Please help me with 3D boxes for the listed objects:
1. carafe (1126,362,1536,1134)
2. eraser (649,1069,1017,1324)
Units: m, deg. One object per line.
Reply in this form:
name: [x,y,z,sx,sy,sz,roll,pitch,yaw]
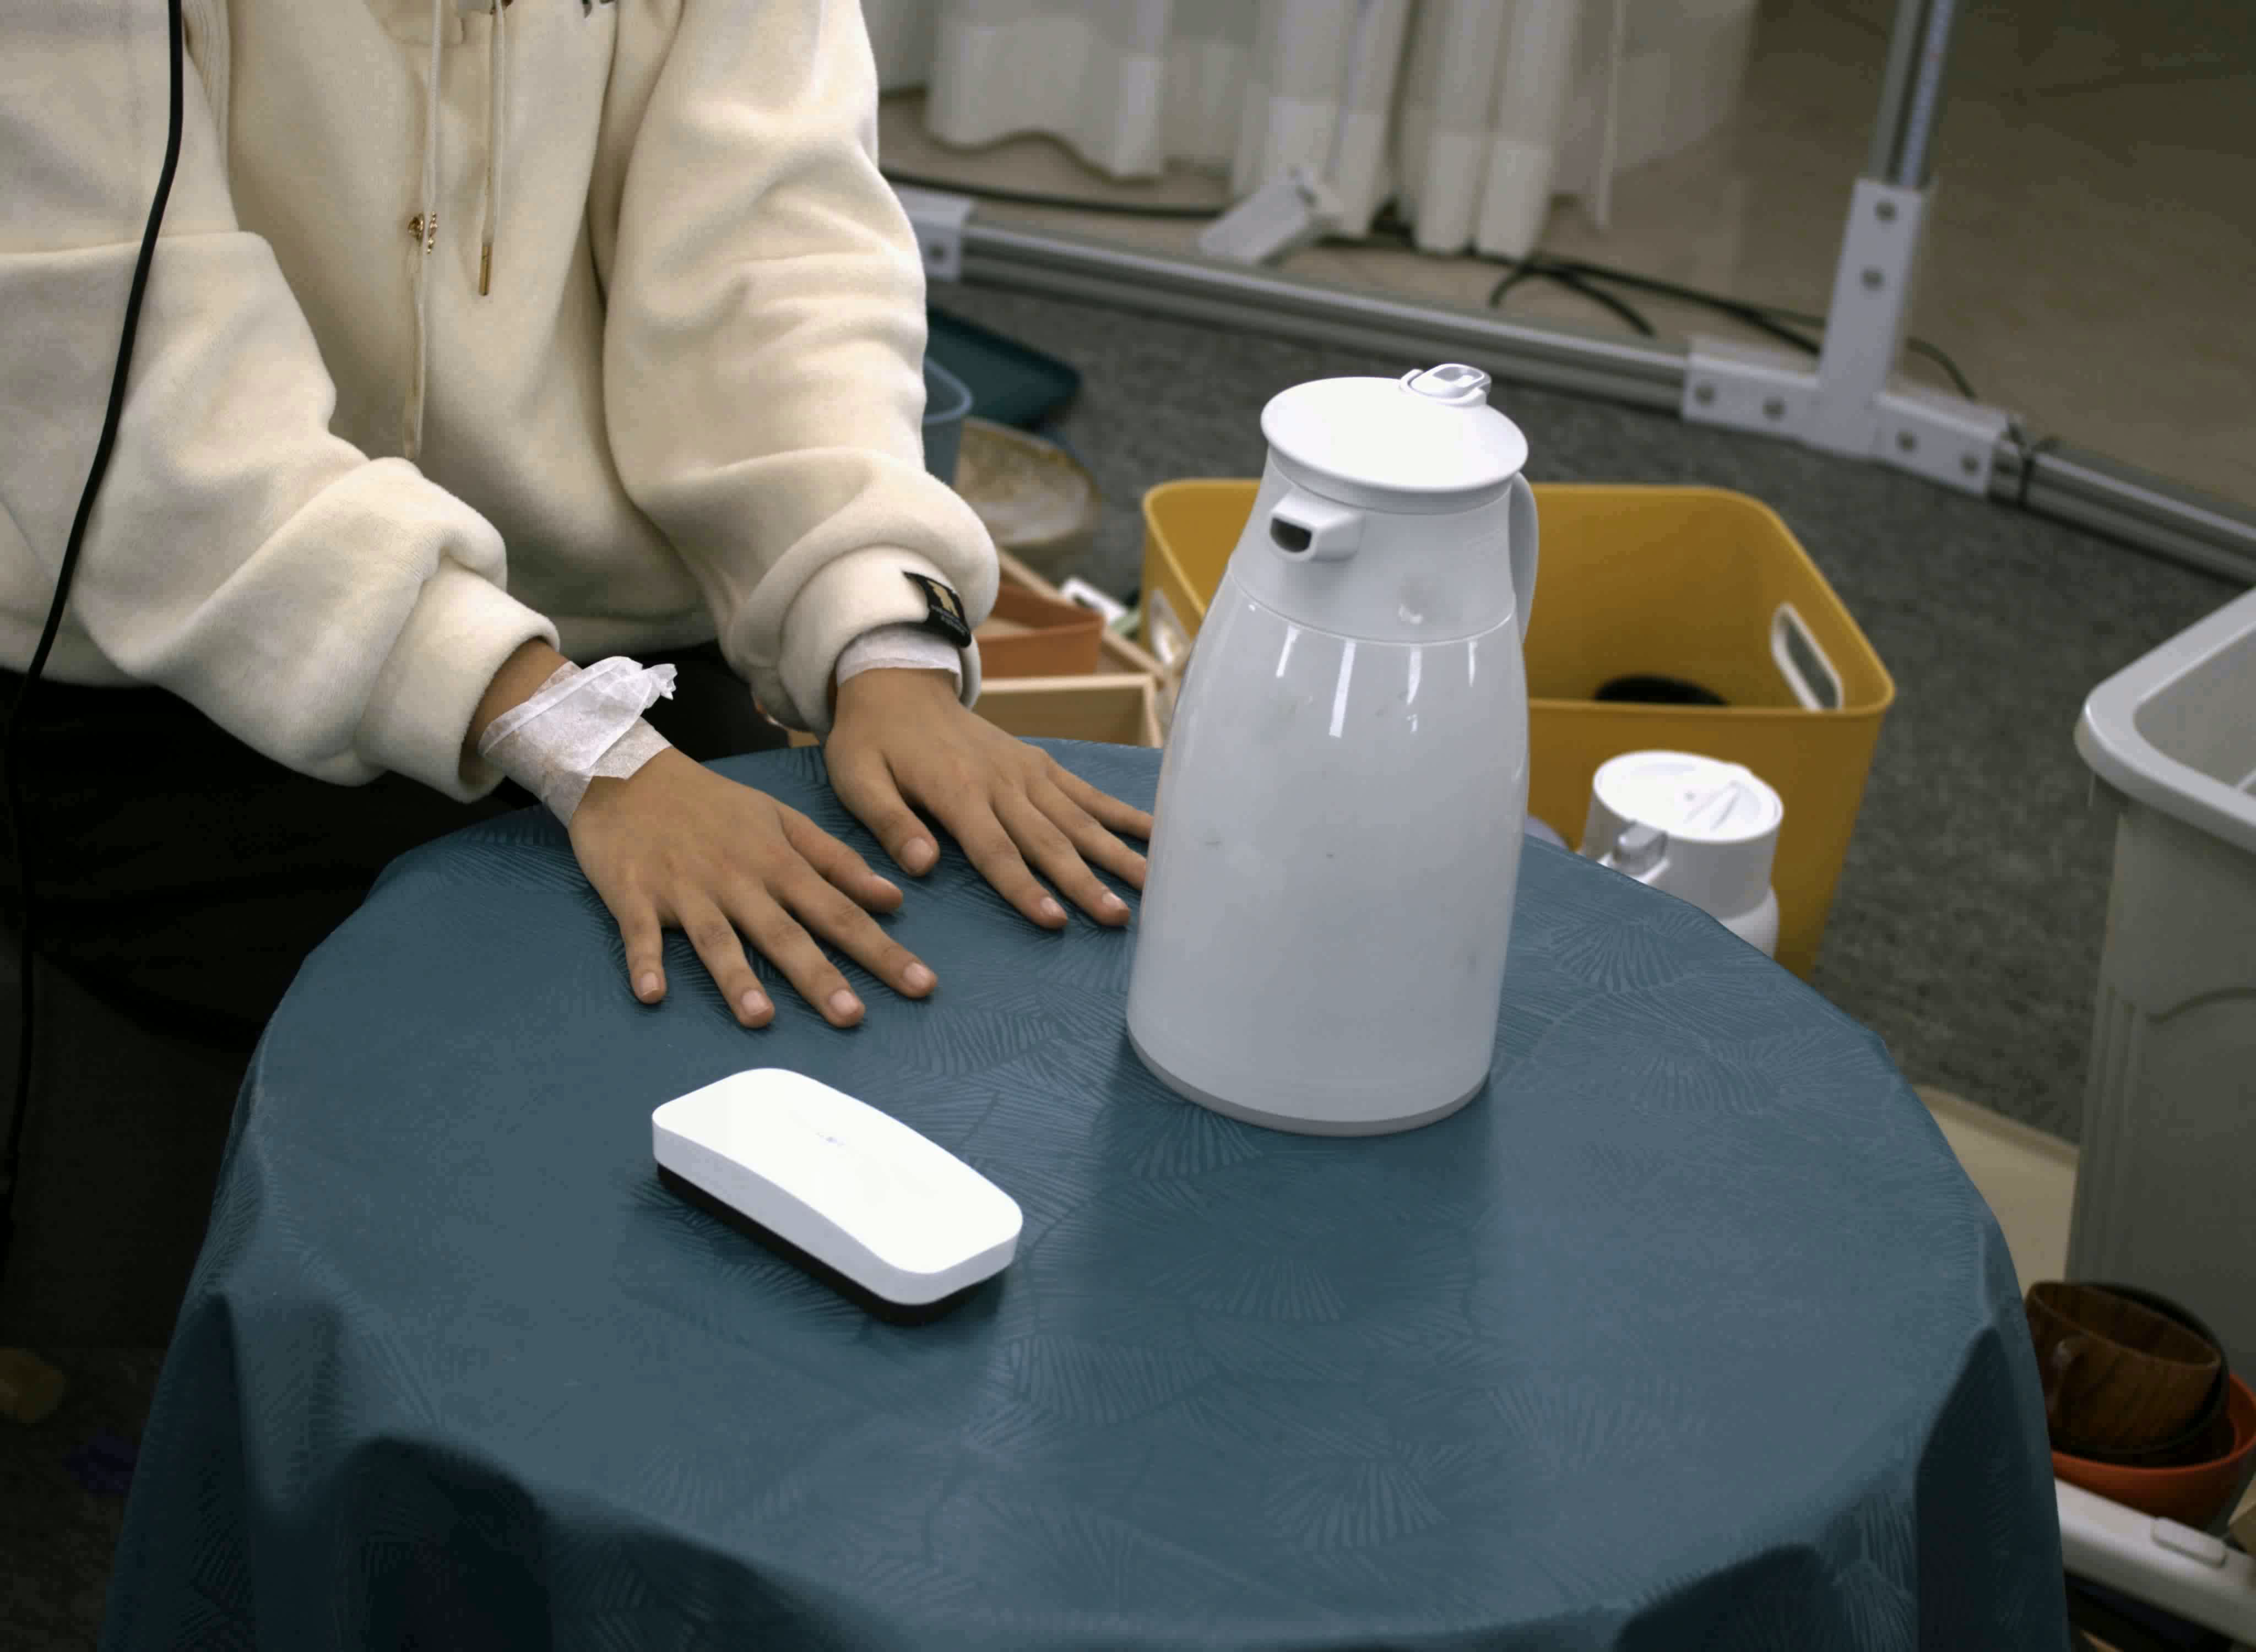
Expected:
carafe: [0.087,-0.039,1.866,0.133,0.248,0.167,21,29,27]
eraser: [-0.098,0.118,1.756,0.132,0.034,0.063,28,32,35]
